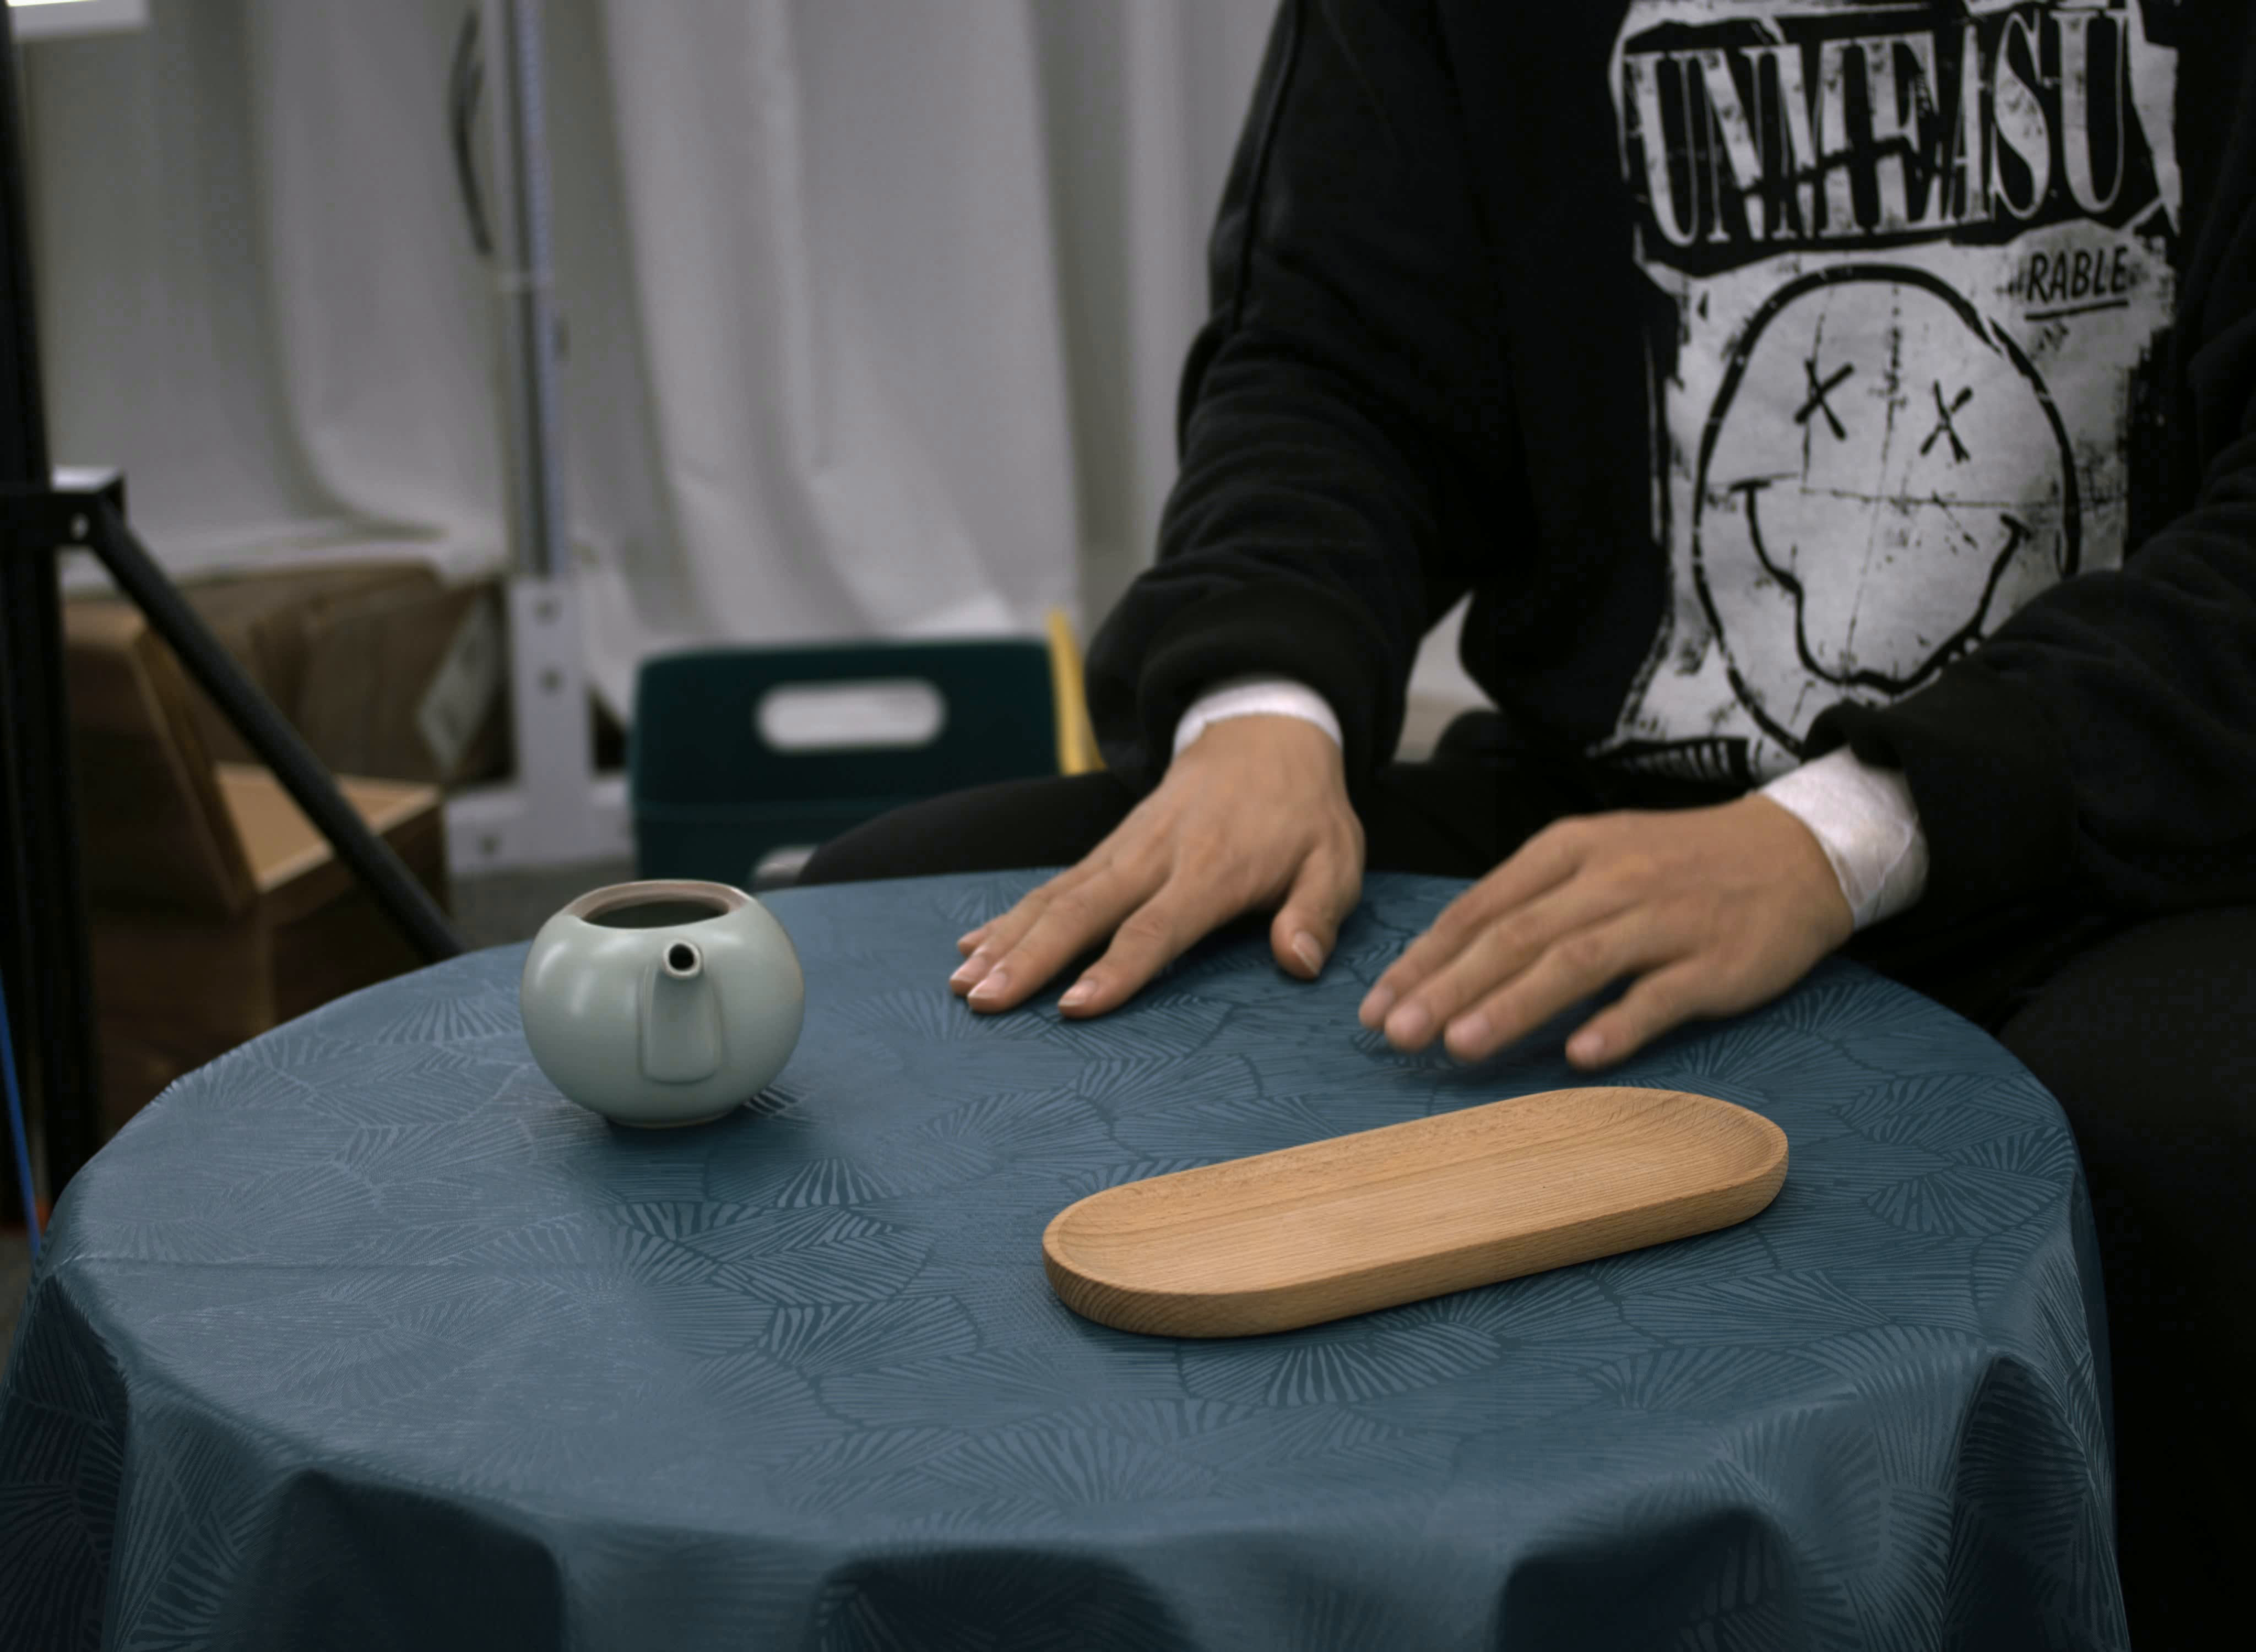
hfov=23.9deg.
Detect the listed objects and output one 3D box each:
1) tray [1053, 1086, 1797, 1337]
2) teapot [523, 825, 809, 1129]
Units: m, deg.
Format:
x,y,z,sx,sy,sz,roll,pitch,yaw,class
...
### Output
x,y,z,sx,sy,sz,roll,pitch,yaw,class
0.087,0.109,1.507,0.226,0.020,0.104,-9,18,-26,tray
-0.142,0.052,1.643,0.087,0.075,0.145,-4,17,-8,teapot
